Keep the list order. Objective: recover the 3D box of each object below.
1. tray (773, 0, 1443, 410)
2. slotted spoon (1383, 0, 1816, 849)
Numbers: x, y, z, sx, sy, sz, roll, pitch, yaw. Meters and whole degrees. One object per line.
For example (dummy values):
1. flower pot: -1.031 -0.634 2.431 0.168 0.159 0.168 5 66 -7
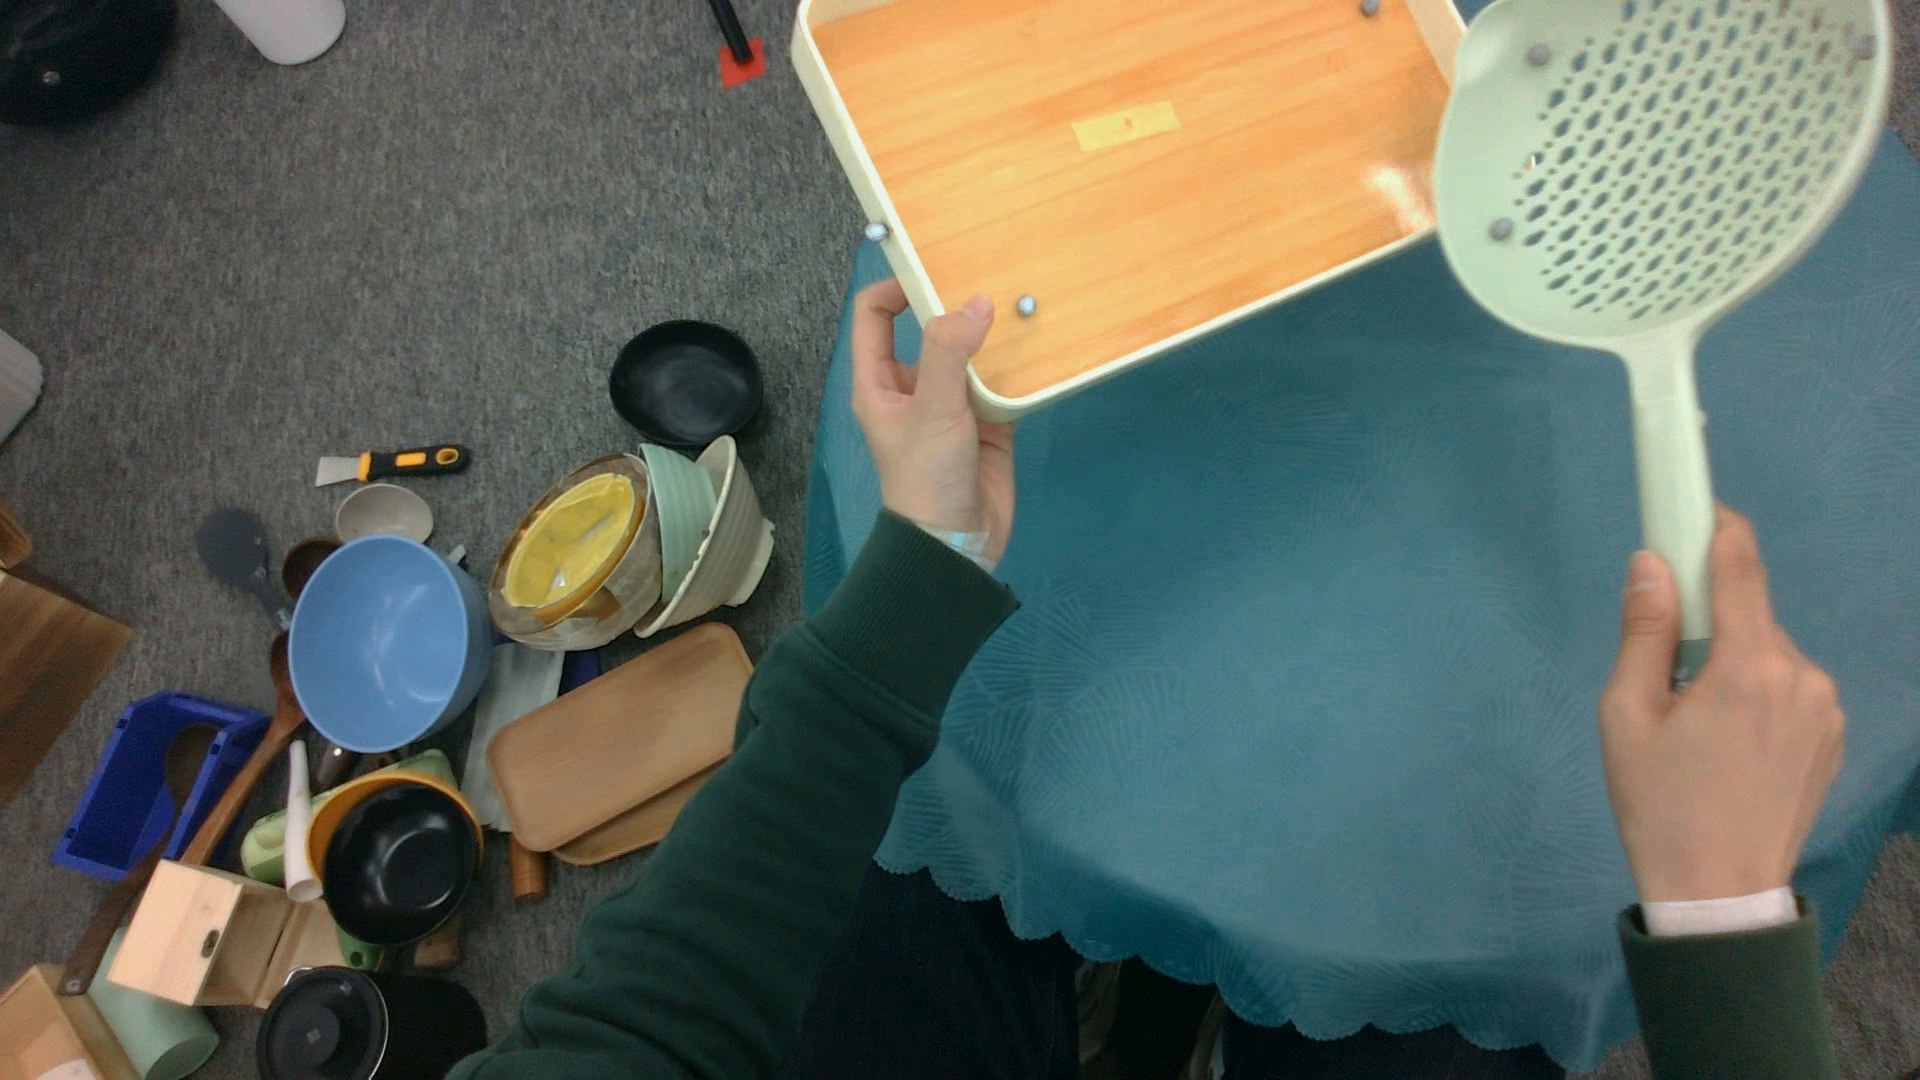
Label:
1. tray: 0.088 -0.192 0.603 0.301 0.027 0.191 -25 85 -20
2. slotted spoon: 0.252 -0.069 0.519 0.075 0.168 0.359 12 73 -33
